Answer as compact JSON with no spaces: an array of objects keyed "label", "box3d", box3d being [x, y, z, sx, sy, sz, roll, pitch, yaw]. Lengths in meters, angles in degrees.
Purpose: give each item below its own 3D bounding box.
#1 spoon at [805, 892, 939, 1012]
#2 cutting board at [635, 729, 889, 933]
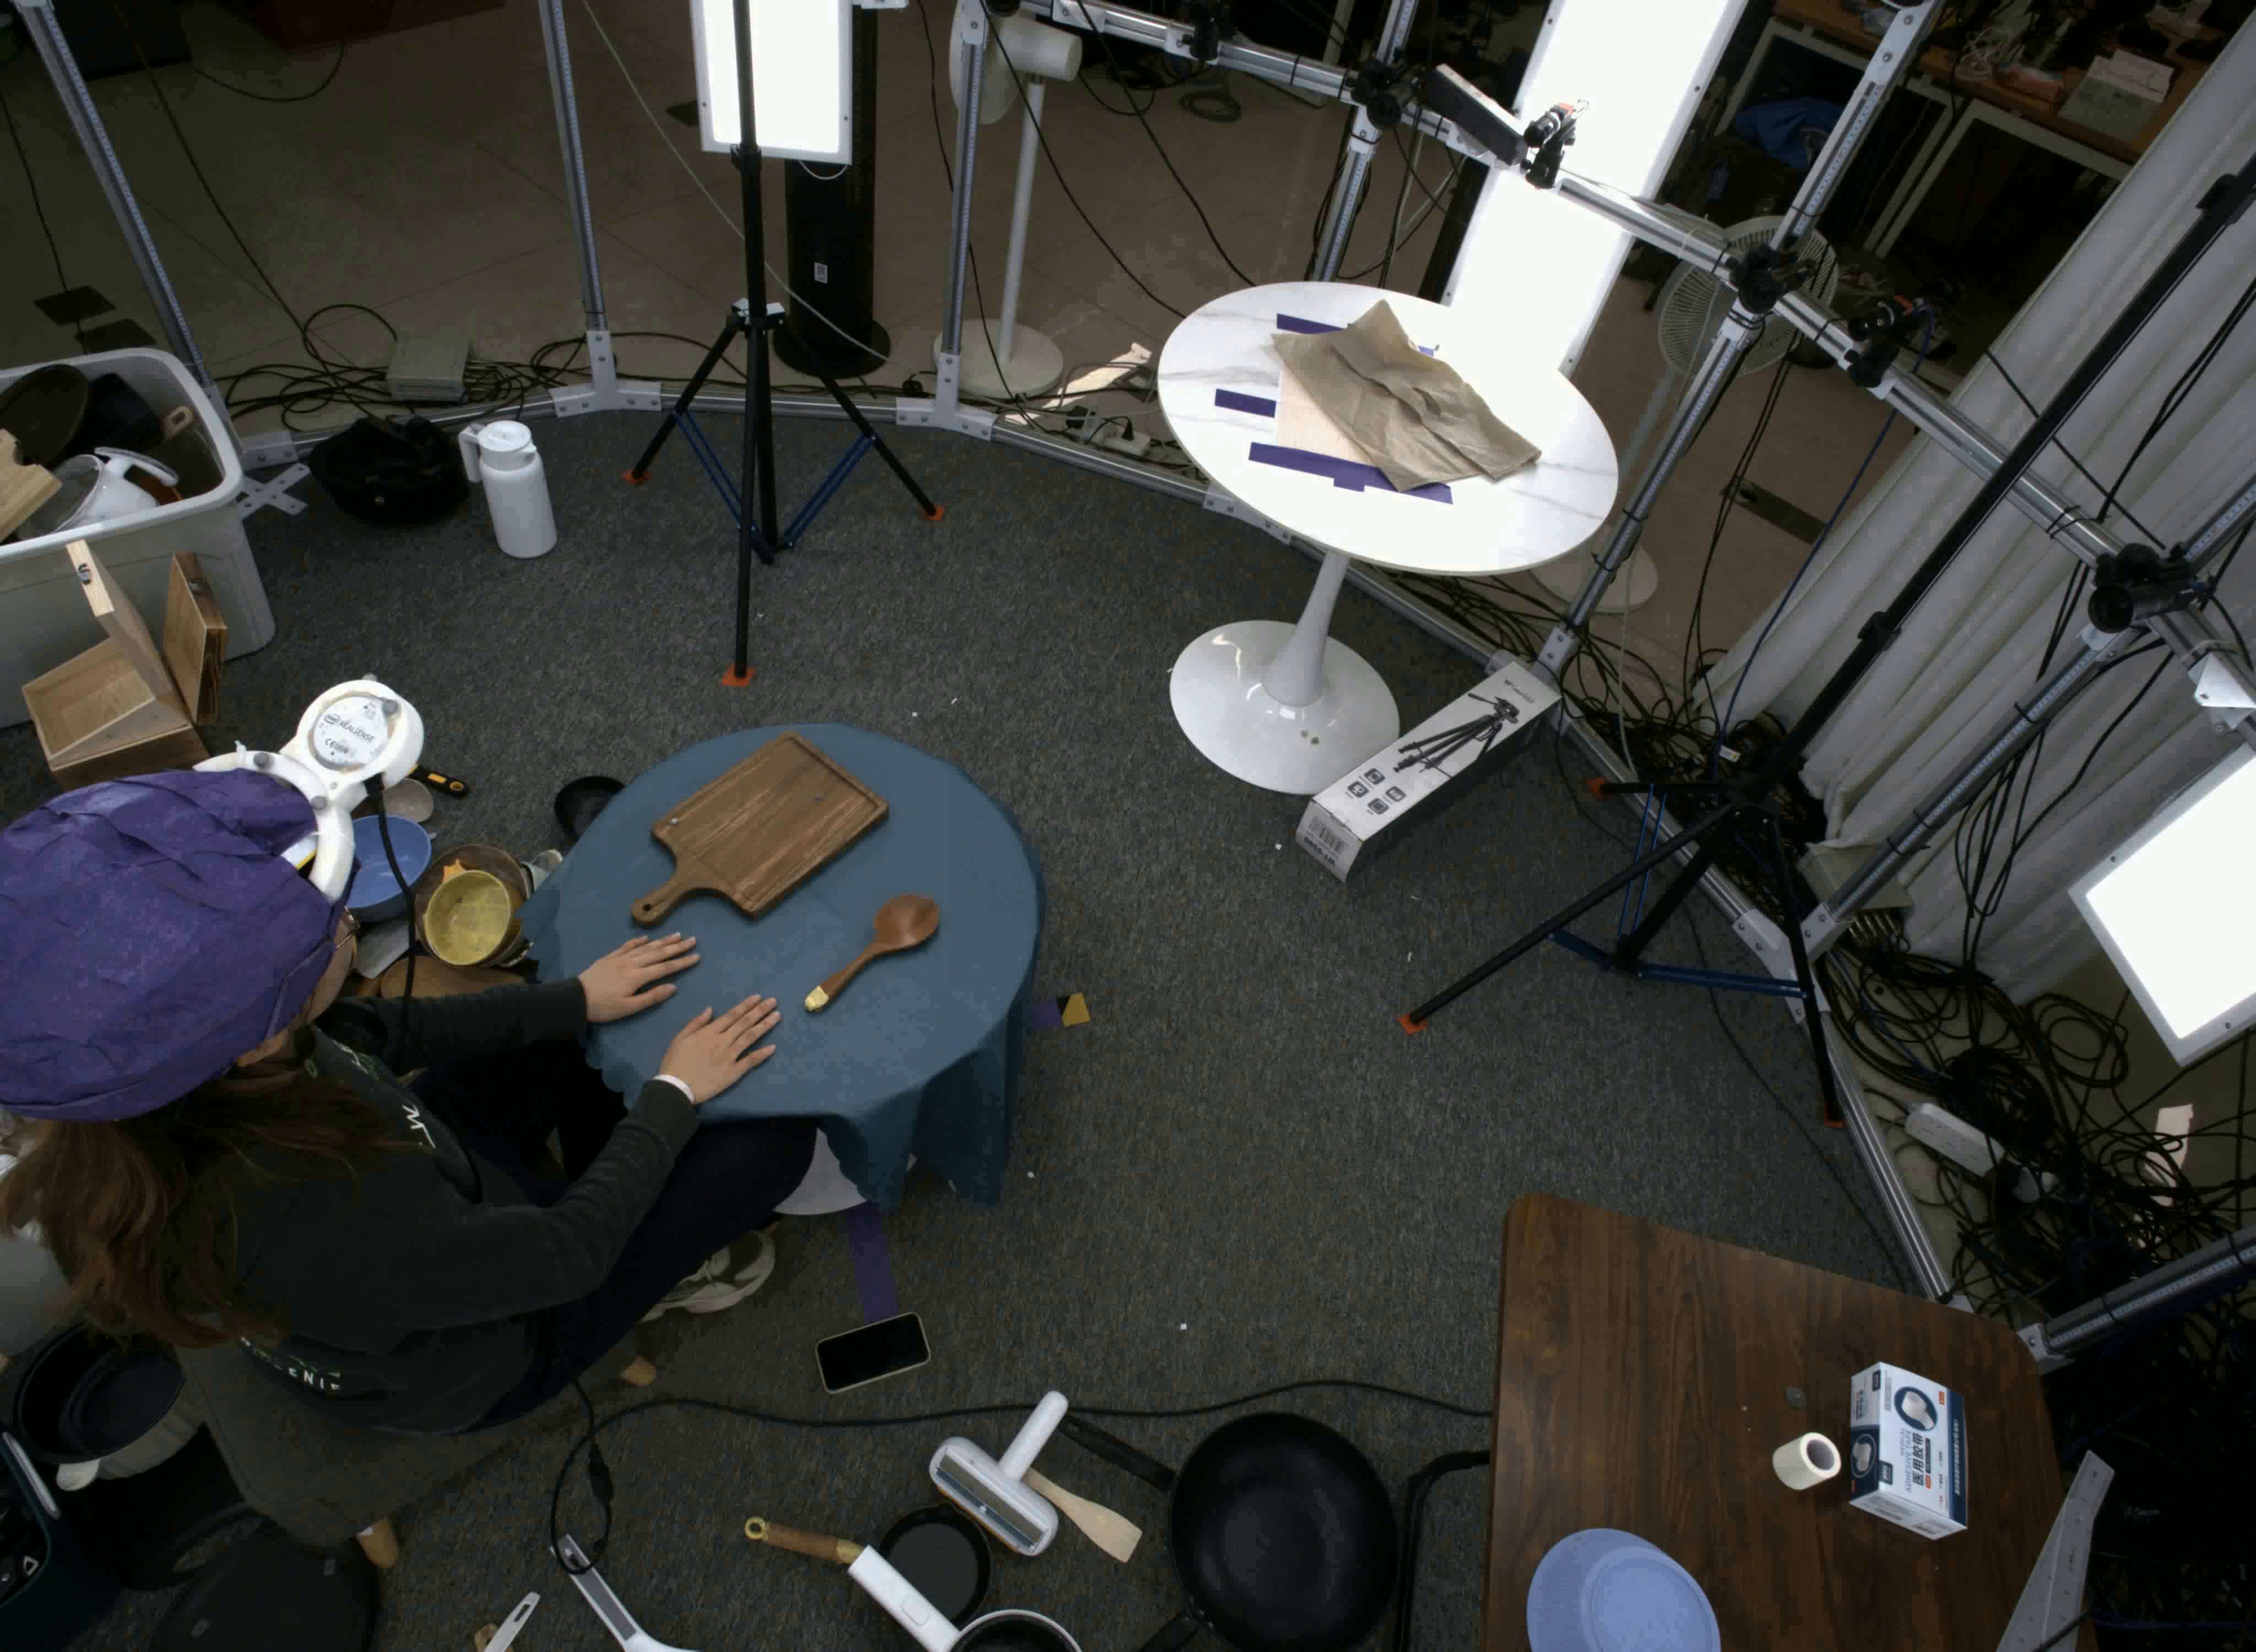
[{"label":"spoon","box3d":[-0.322,0.156,1.628,0.074,0.017,0.216,38,53,12]},{"label":"cutting board","box3d":[-0.500,0.020,1.684,0.197,0.023,0.352,37,54,13]}]
